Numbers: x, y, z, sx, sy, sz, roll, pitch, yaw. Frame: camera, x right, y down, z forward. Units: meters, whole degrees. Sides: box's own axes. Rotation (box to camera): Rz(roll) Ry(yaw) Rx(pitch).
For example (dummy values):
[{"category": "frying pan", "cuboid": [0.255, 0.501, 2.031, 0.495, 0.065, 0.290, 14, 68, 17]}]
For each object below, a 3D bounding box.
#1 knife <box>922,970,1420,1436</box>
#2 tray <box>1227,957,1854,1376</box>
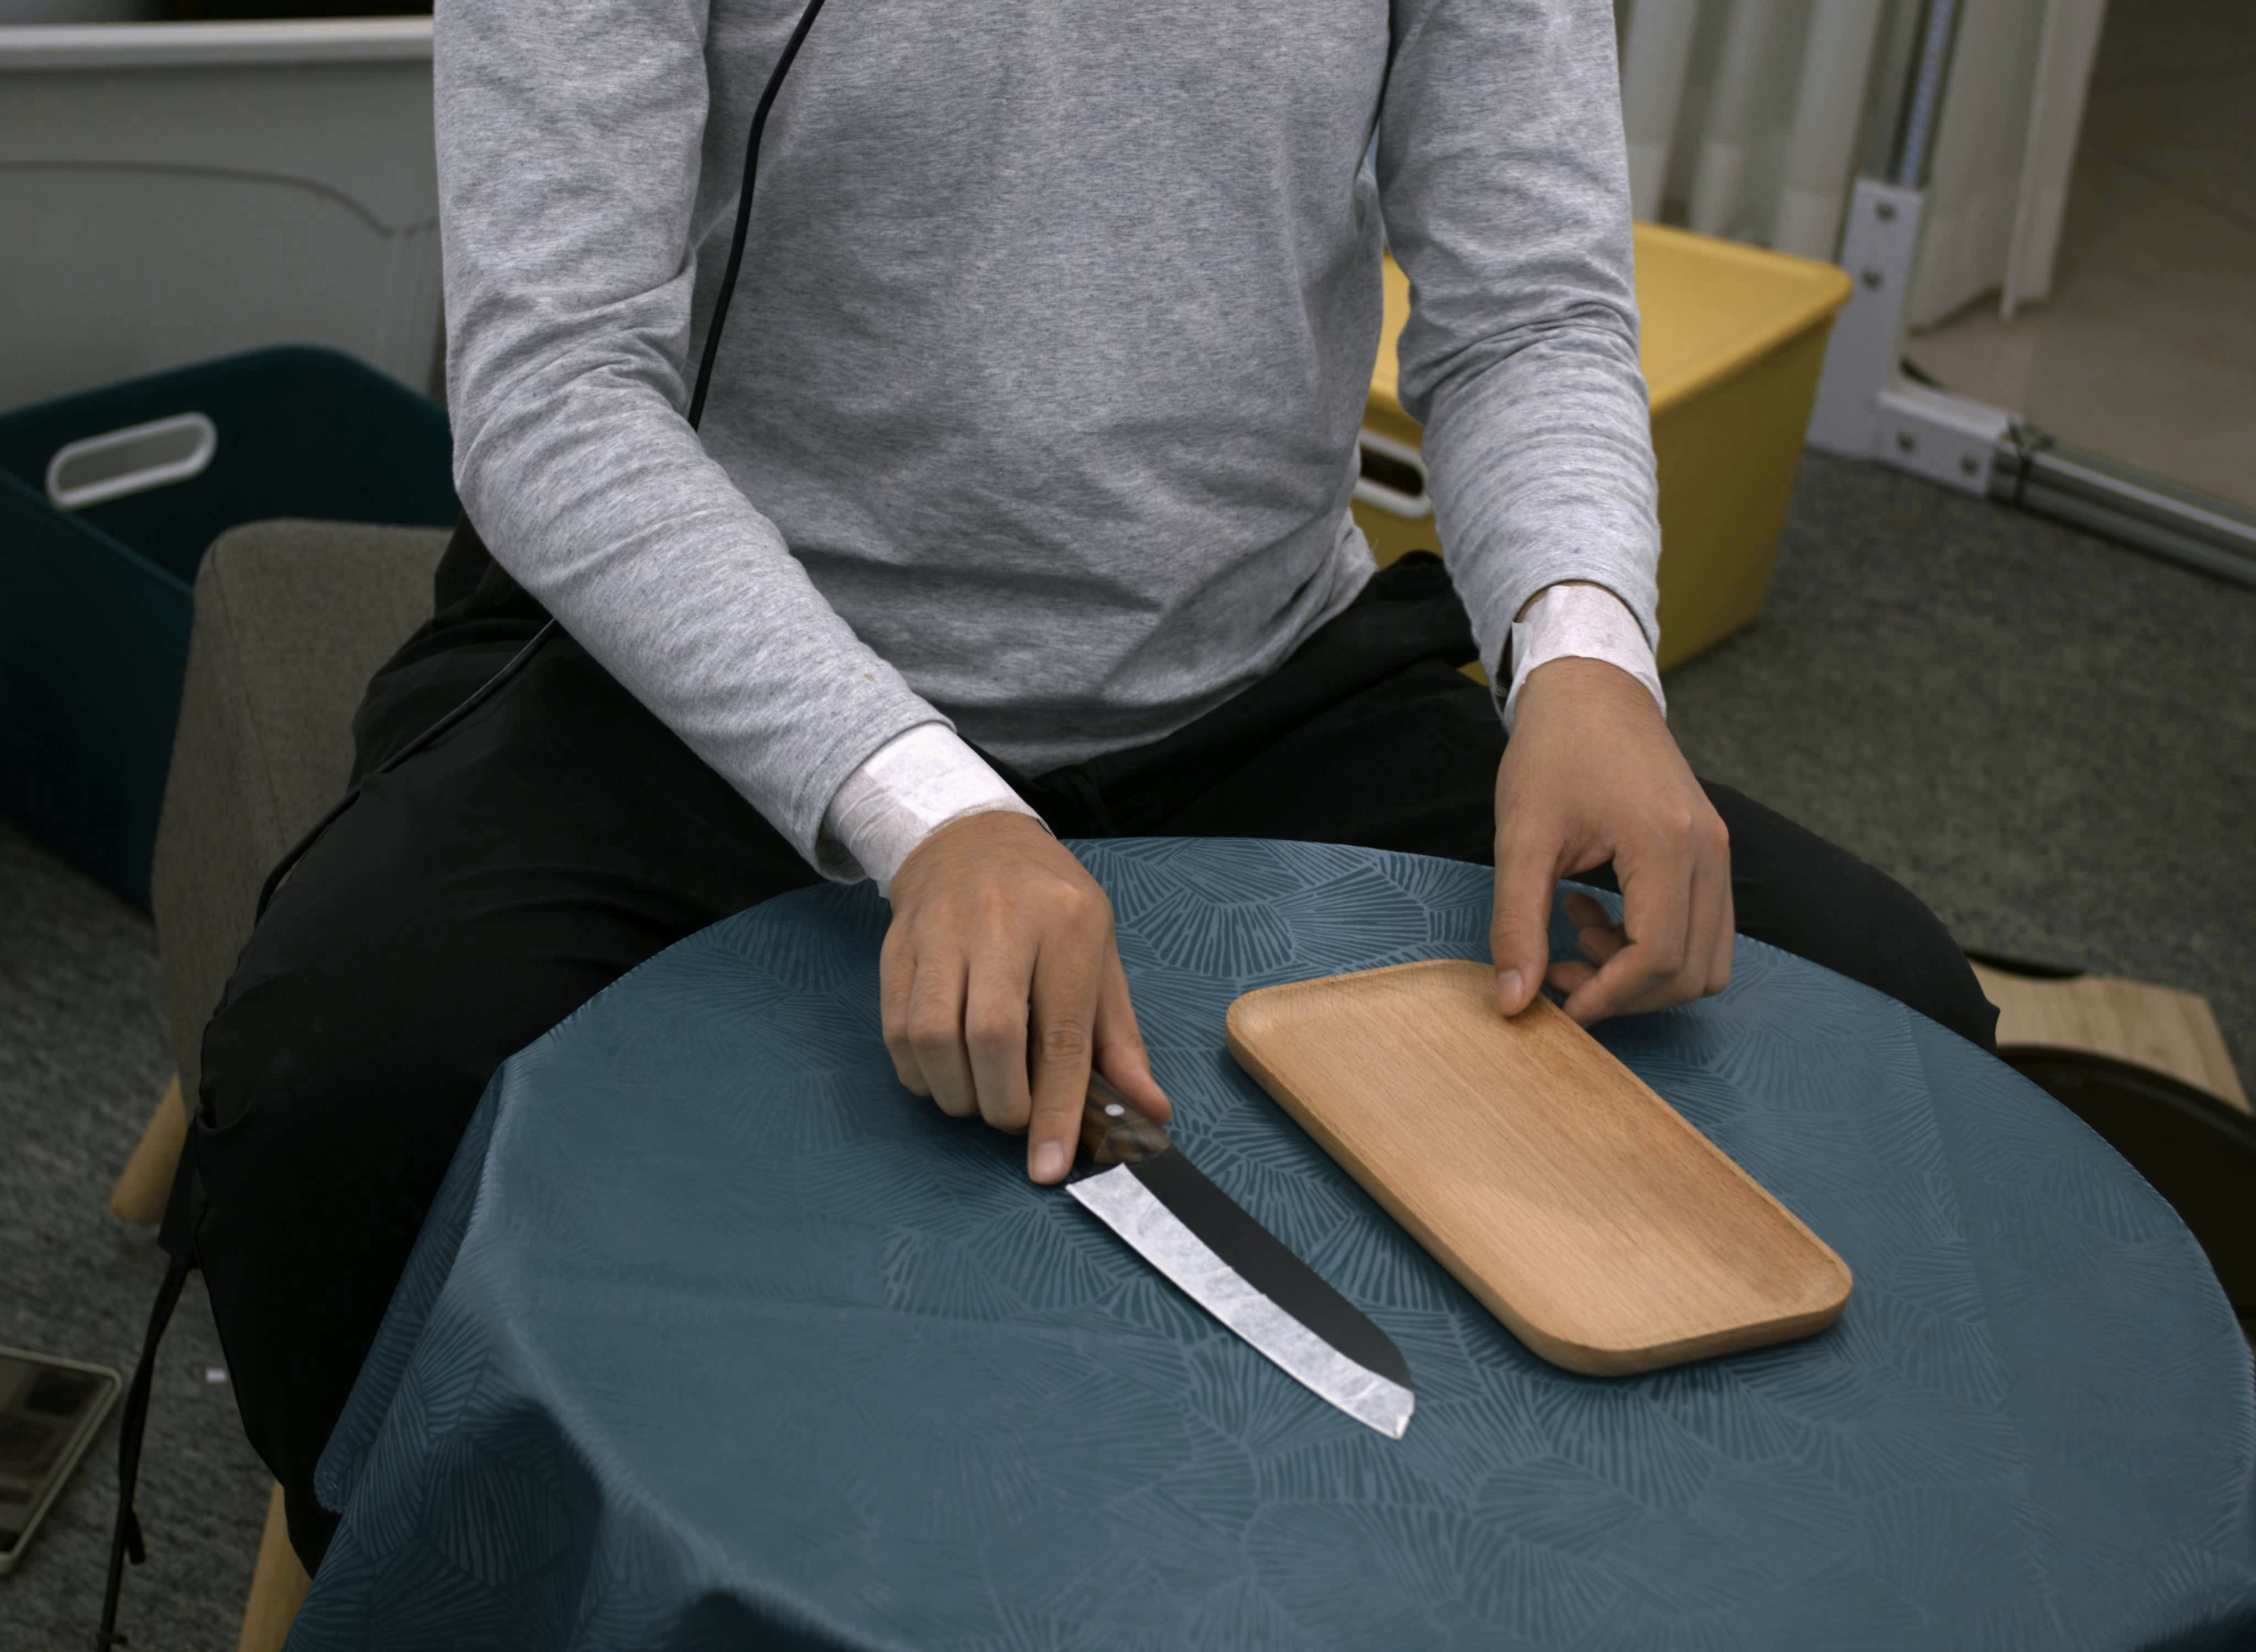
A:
[{"category": "knife", "cuboid": [0.011, 0.125, 1.789, 0.050, 0.020, 0.292, -18, 37, -28]}, {"category": "tray", "cuboid": [0.138, 0.114, 1.838, 0.129, 0.023, 0.253, -5, 28, -27]}]
